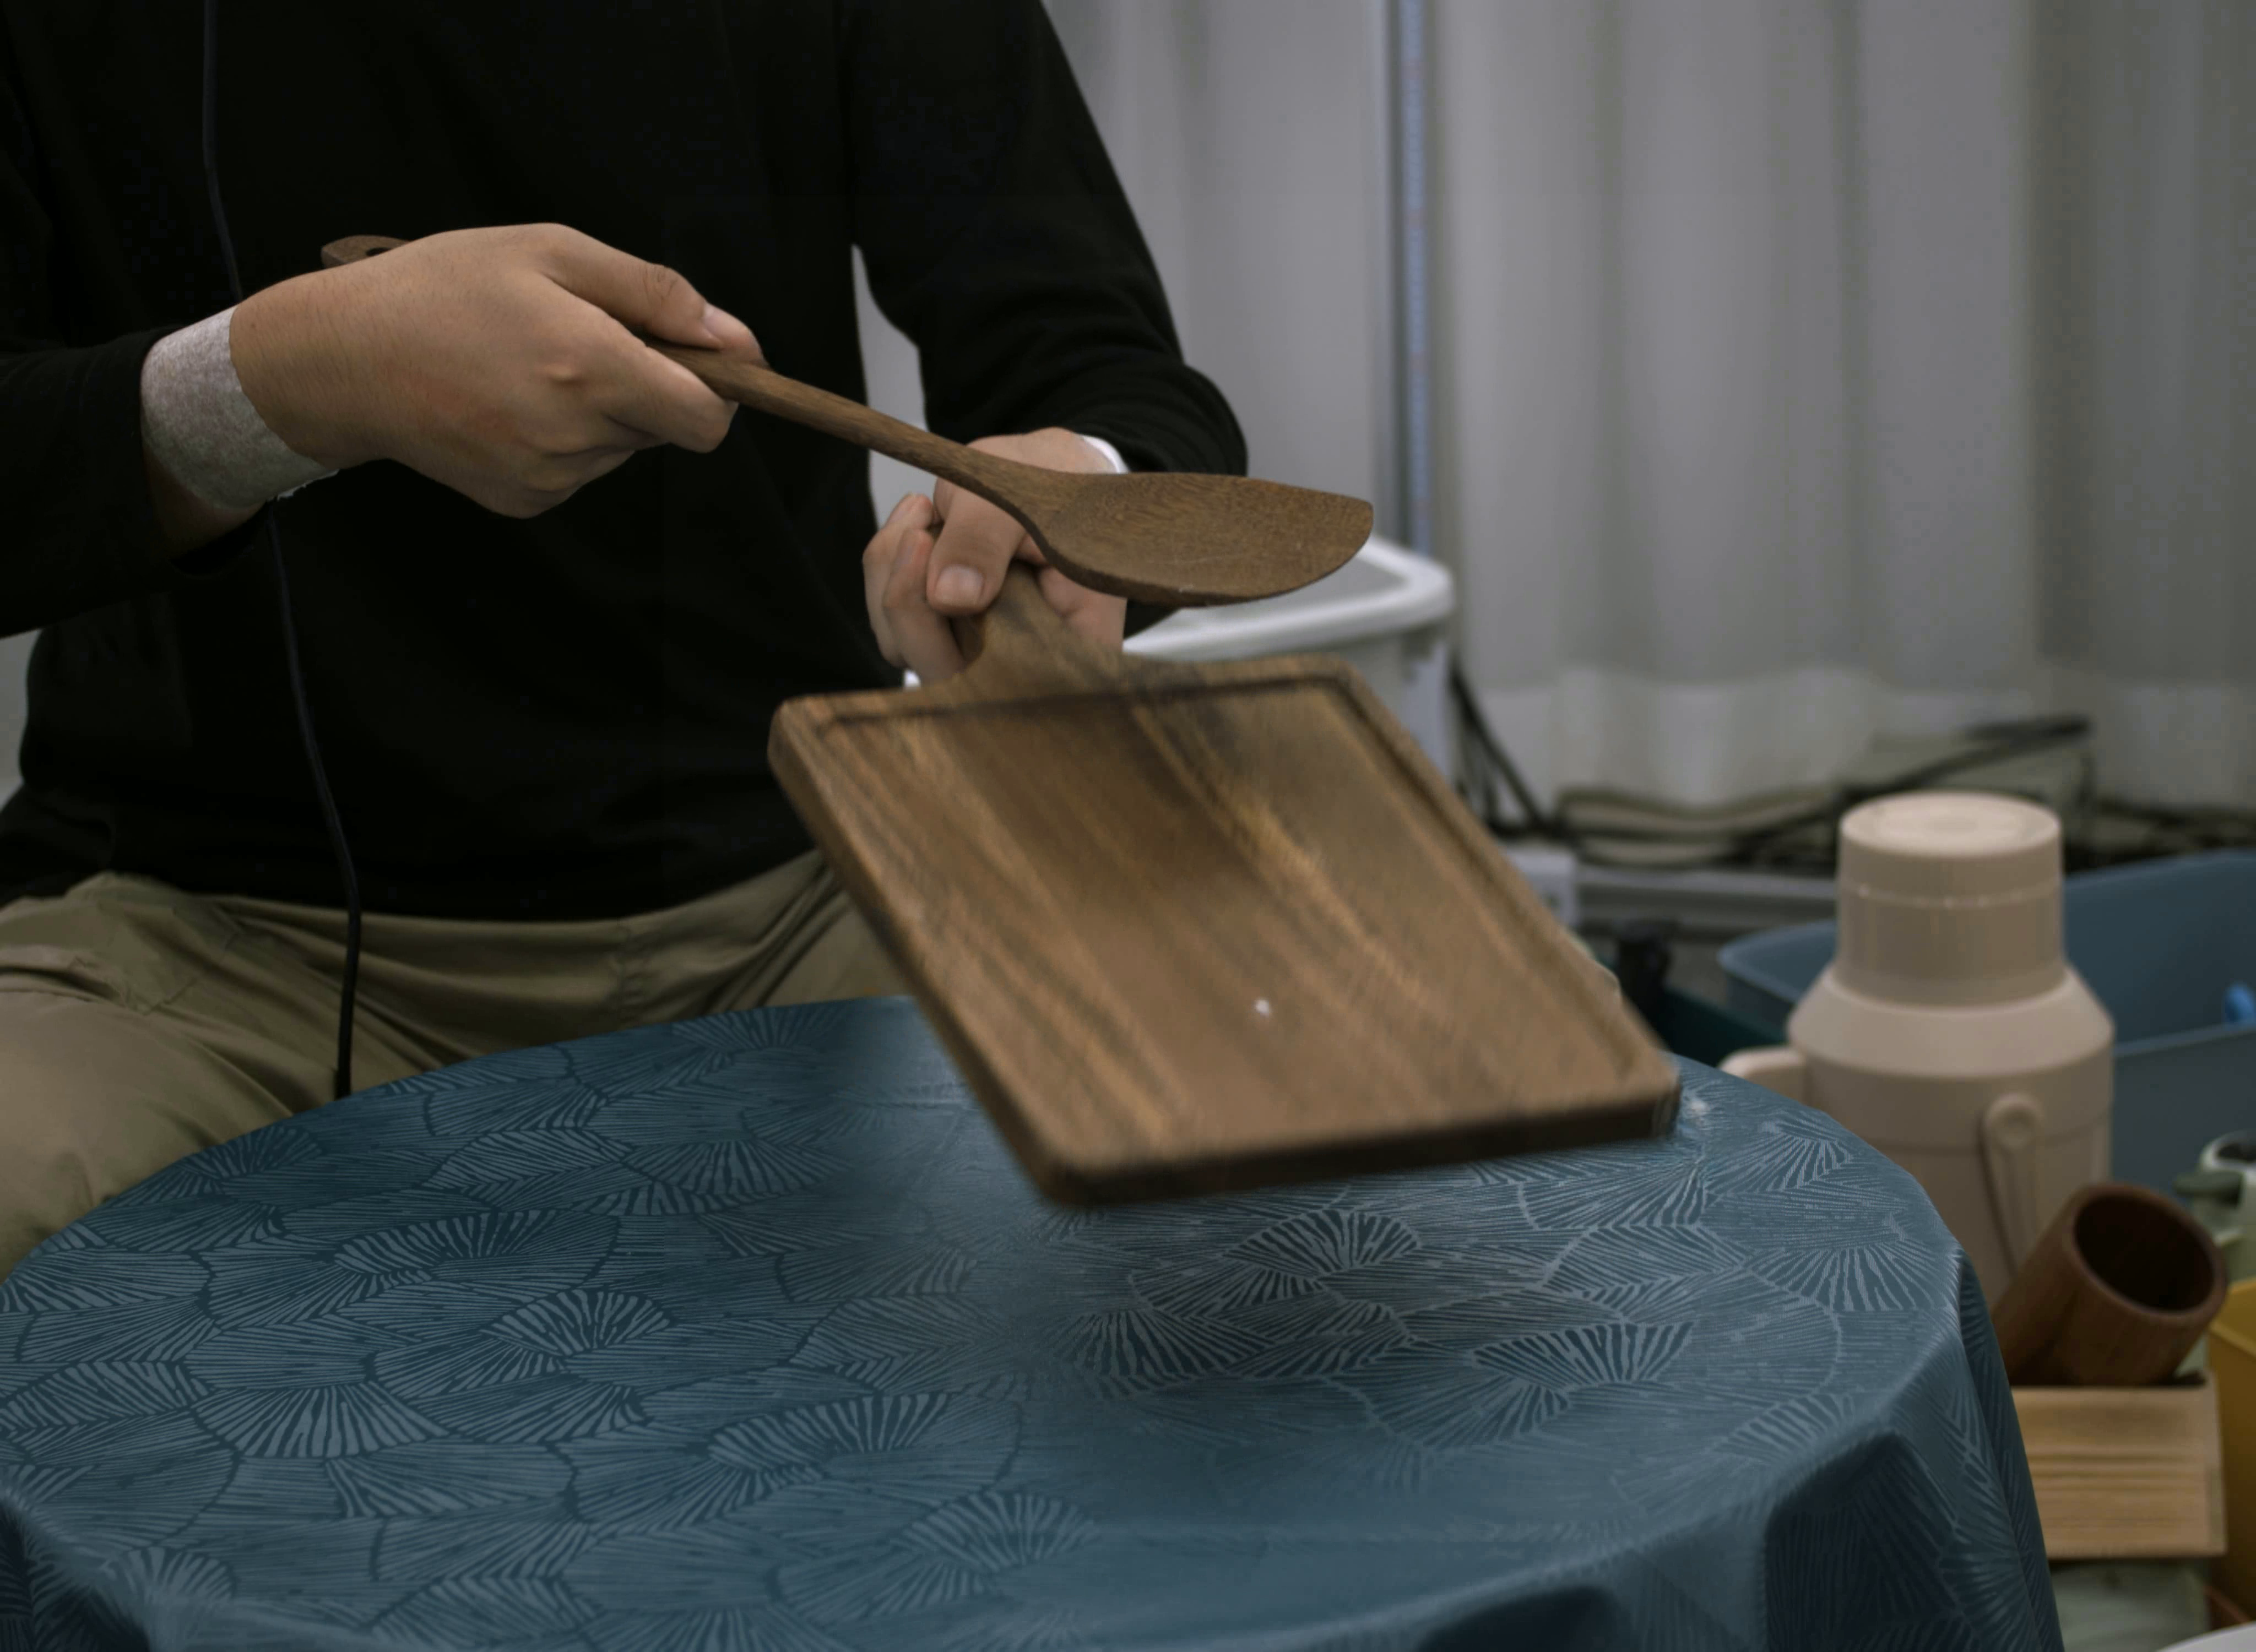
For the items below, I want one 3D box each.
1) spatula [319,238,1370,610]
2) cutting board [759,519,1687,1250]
[{"bbox_3d":[-0.102,-0.132,1.728,0.388,0.015,0.096,20,31,26],"label":"spatula"},{"bbox_3d":[0.005,0.004,1.644,0.200,0.023,0.357,-6,35,-22],"label":"cutting board"}]
